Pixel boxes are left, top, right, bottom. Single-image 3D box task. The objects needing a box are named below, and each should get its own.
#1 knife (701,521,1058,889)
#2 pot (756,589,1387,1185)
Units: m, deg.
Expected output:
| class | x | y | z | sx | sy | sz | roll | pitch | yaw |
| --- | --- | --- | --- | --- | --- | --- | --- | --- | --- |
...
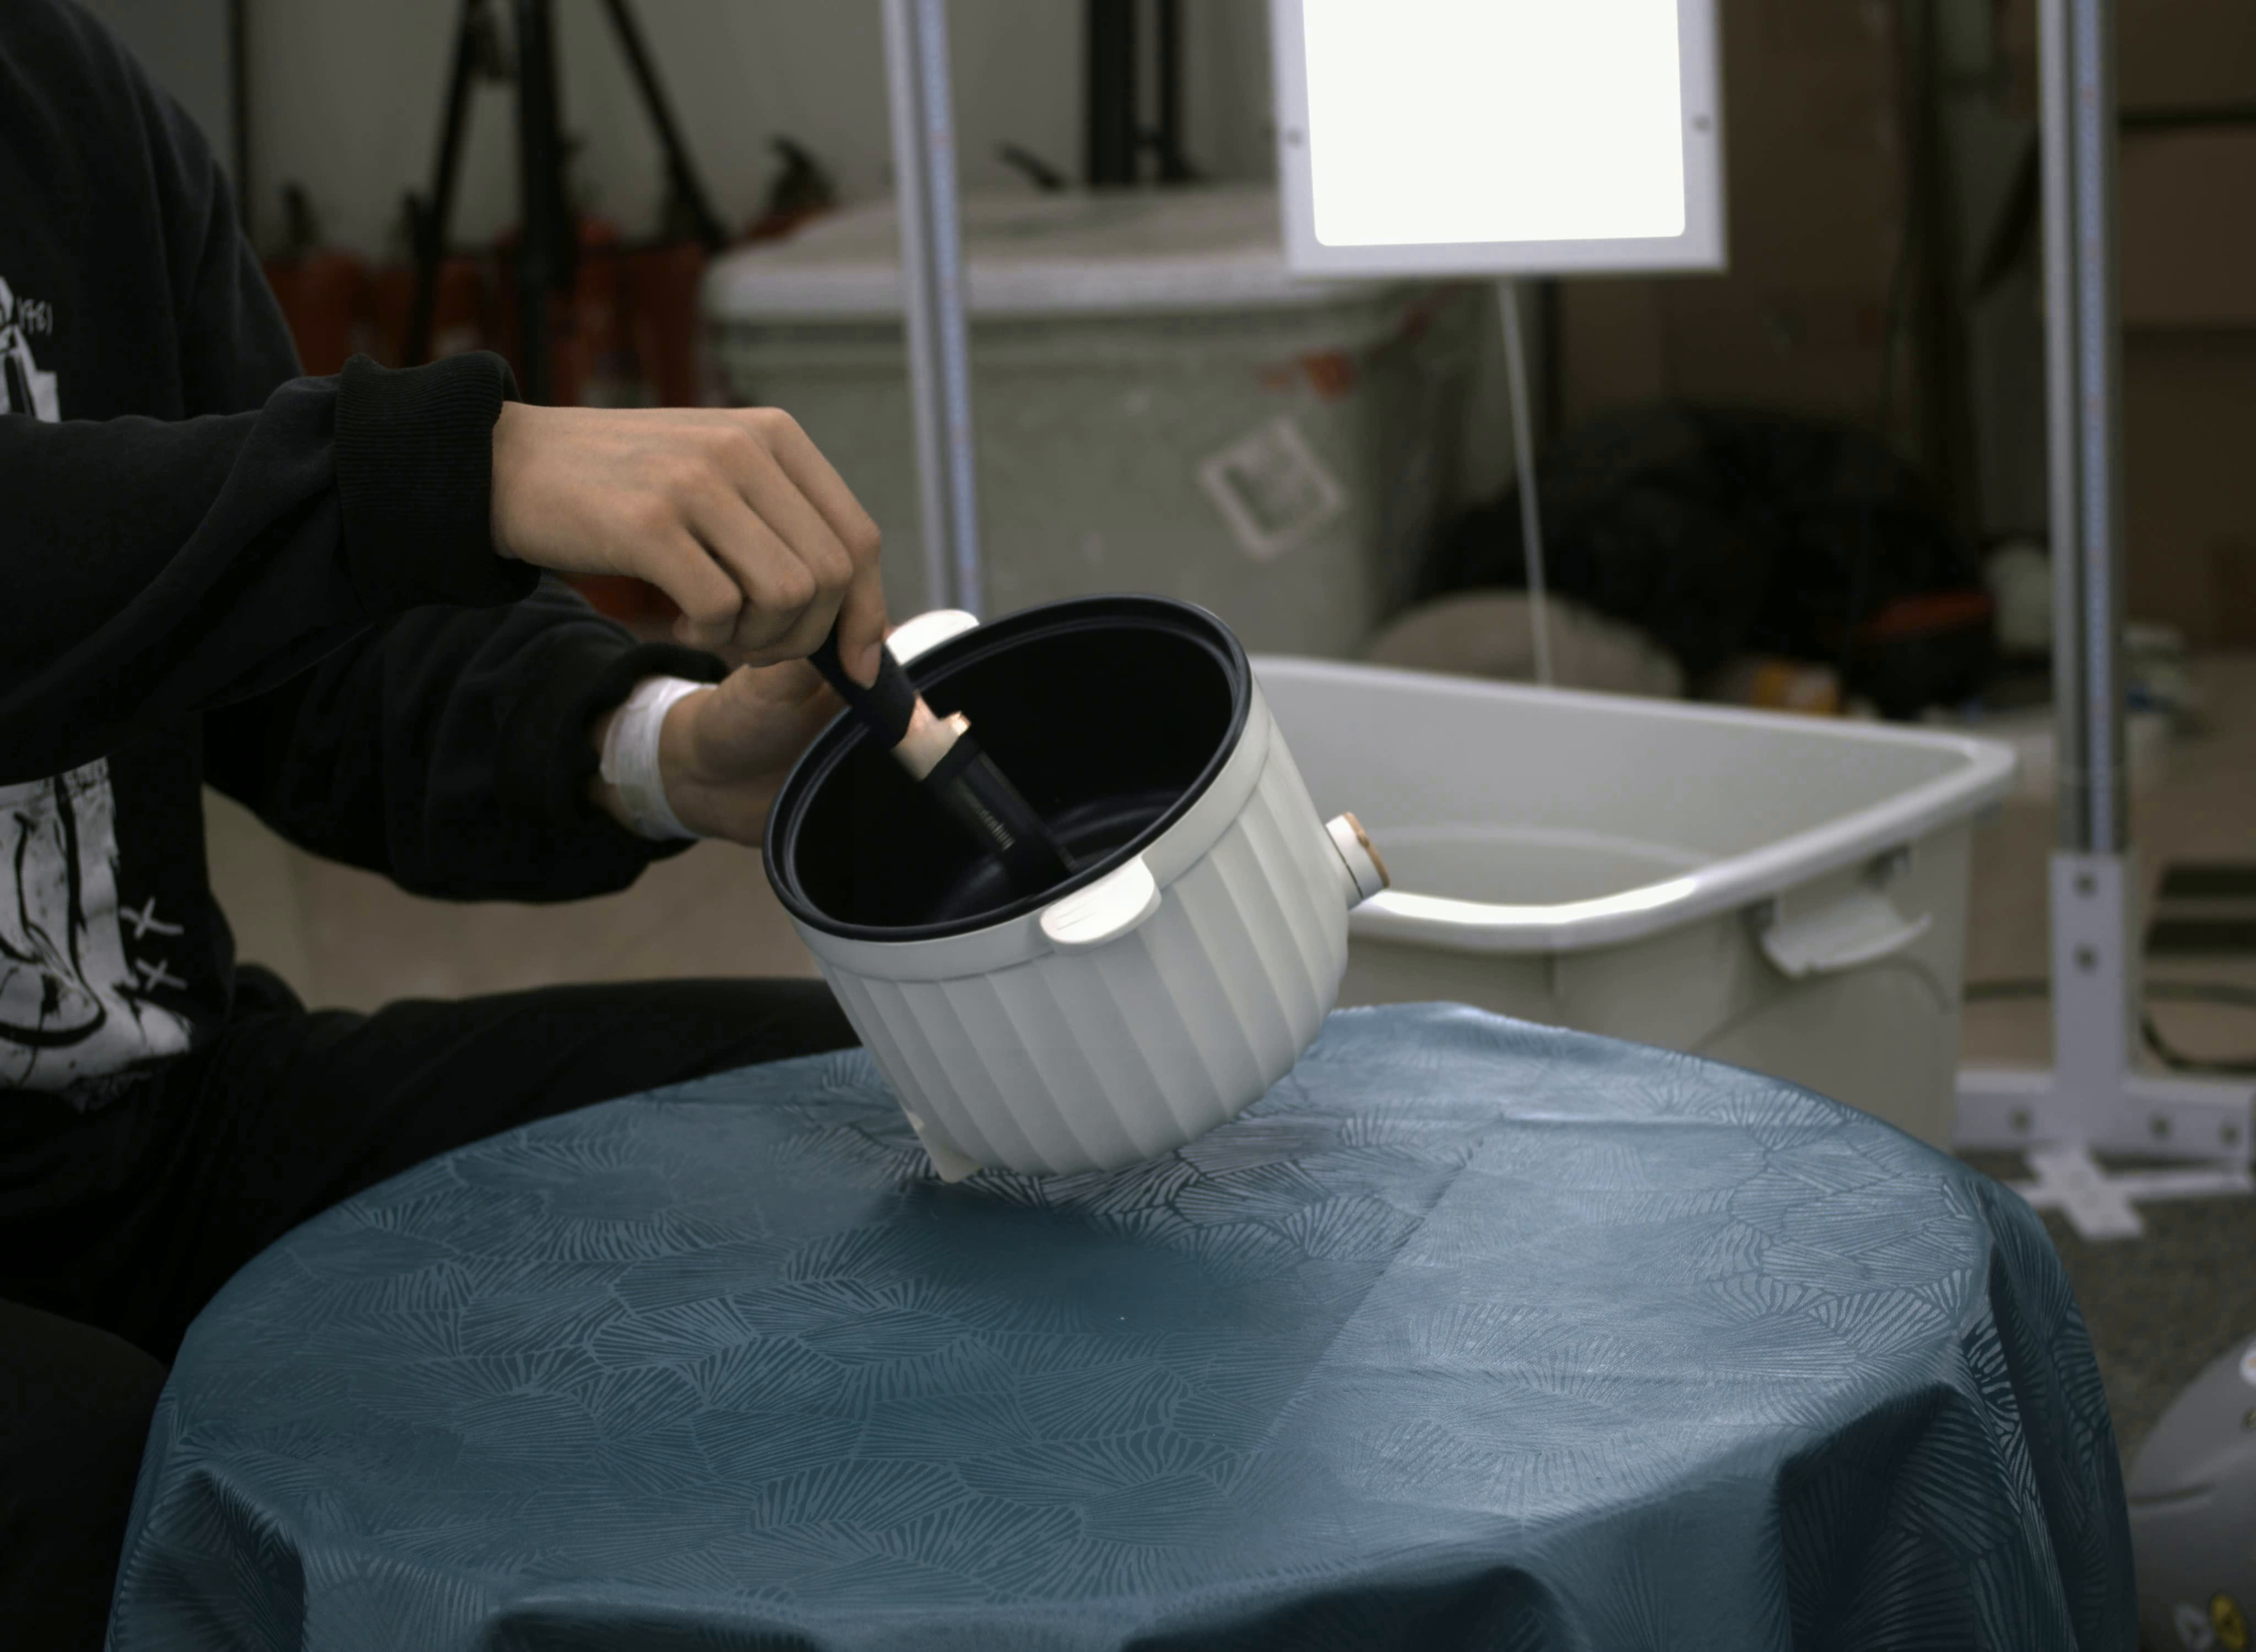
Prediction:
| class | x | y | z | sx | sy | sz | roll | pitch | yaw |
| --- | --- | --- | --- | --- | --- | --- | --- | --- | --- |
| knife | -0.065 | -0.019 | 1.812 | 0.017 | 0.223 | 0.026 | -19 | 32 | 43 |
| pot | -0.014 | 0.024 | 1.912 | 0.190 | 0.141 | 0.242 | -33 | 33 | -2 |
